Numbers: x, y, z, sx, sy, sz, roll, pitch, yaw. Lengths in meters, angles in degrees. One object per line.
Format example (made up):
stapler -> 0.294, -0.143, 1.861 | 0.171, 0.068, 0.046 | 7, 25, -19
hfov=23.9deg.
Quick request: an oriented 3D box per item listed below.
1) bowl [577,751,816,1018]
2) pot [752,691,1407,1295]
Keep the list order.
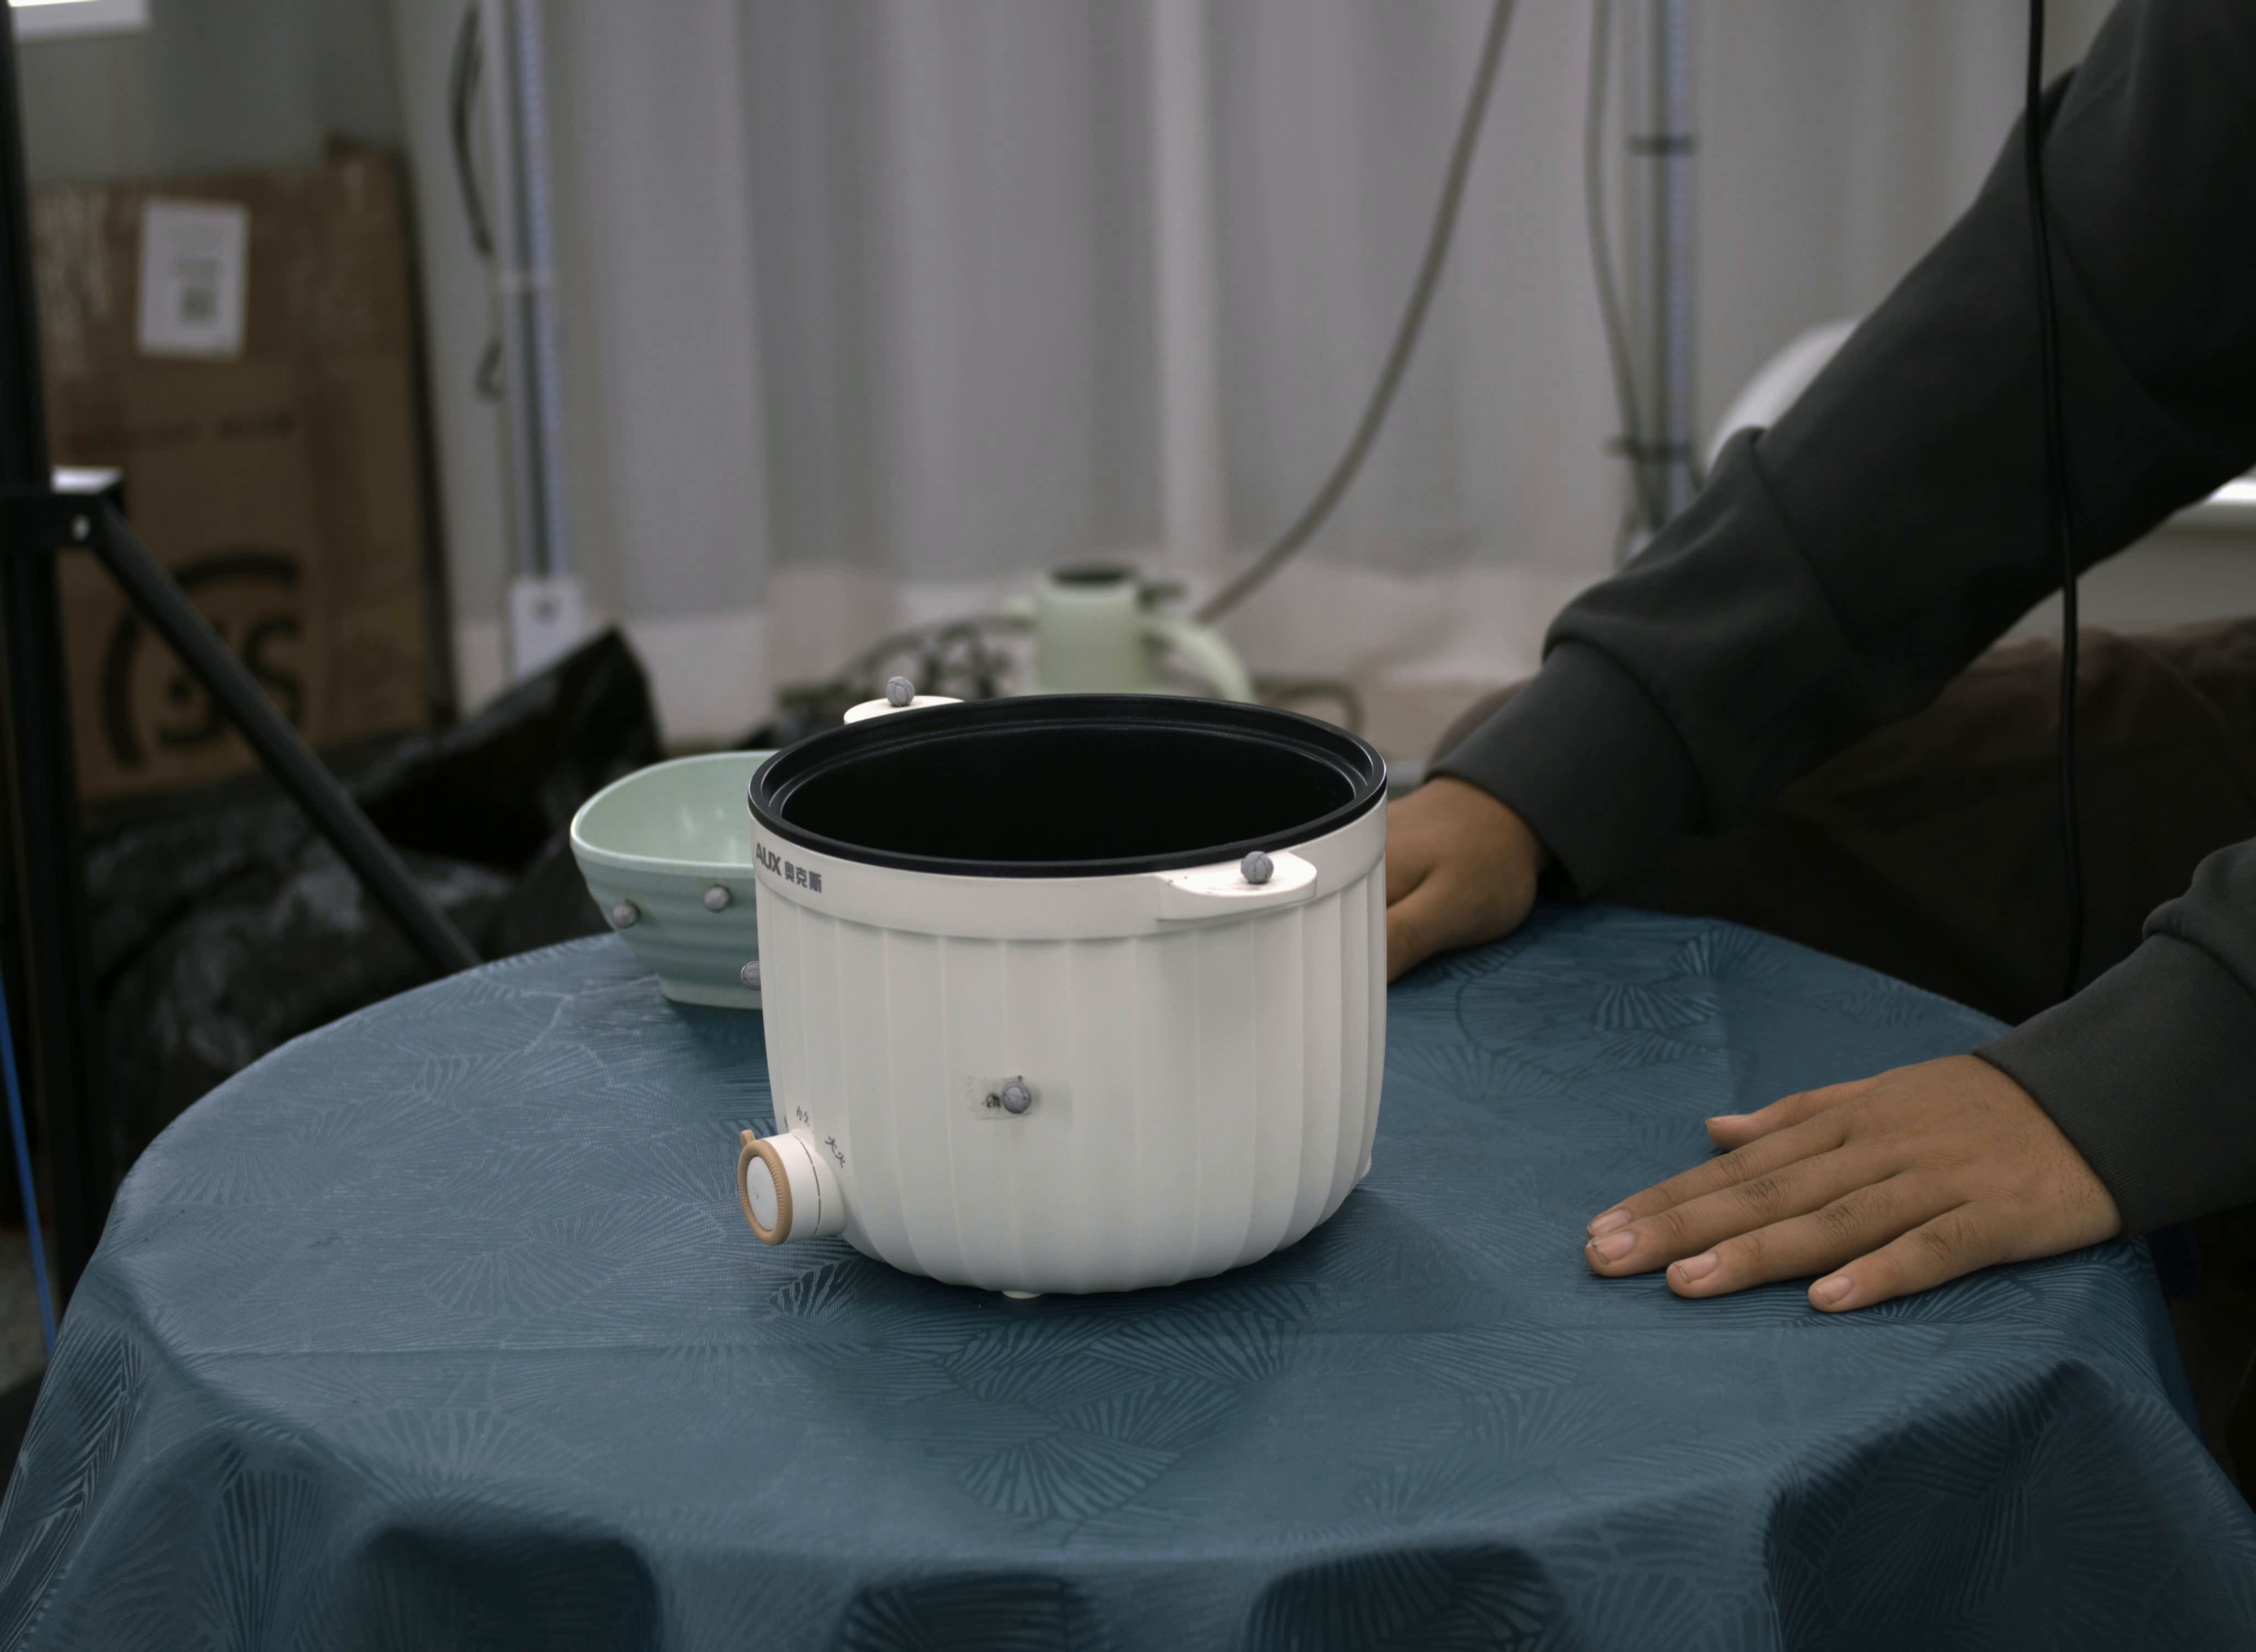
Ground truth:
bowl -> -0.110, 0.023, 1.773 | 0.151, 0.058, 0.152 | -3, 17, -1
pot -> -0.016, 0.049, 1.510 | 0.186, 0.143, 0.245 | -7, 14, -28
